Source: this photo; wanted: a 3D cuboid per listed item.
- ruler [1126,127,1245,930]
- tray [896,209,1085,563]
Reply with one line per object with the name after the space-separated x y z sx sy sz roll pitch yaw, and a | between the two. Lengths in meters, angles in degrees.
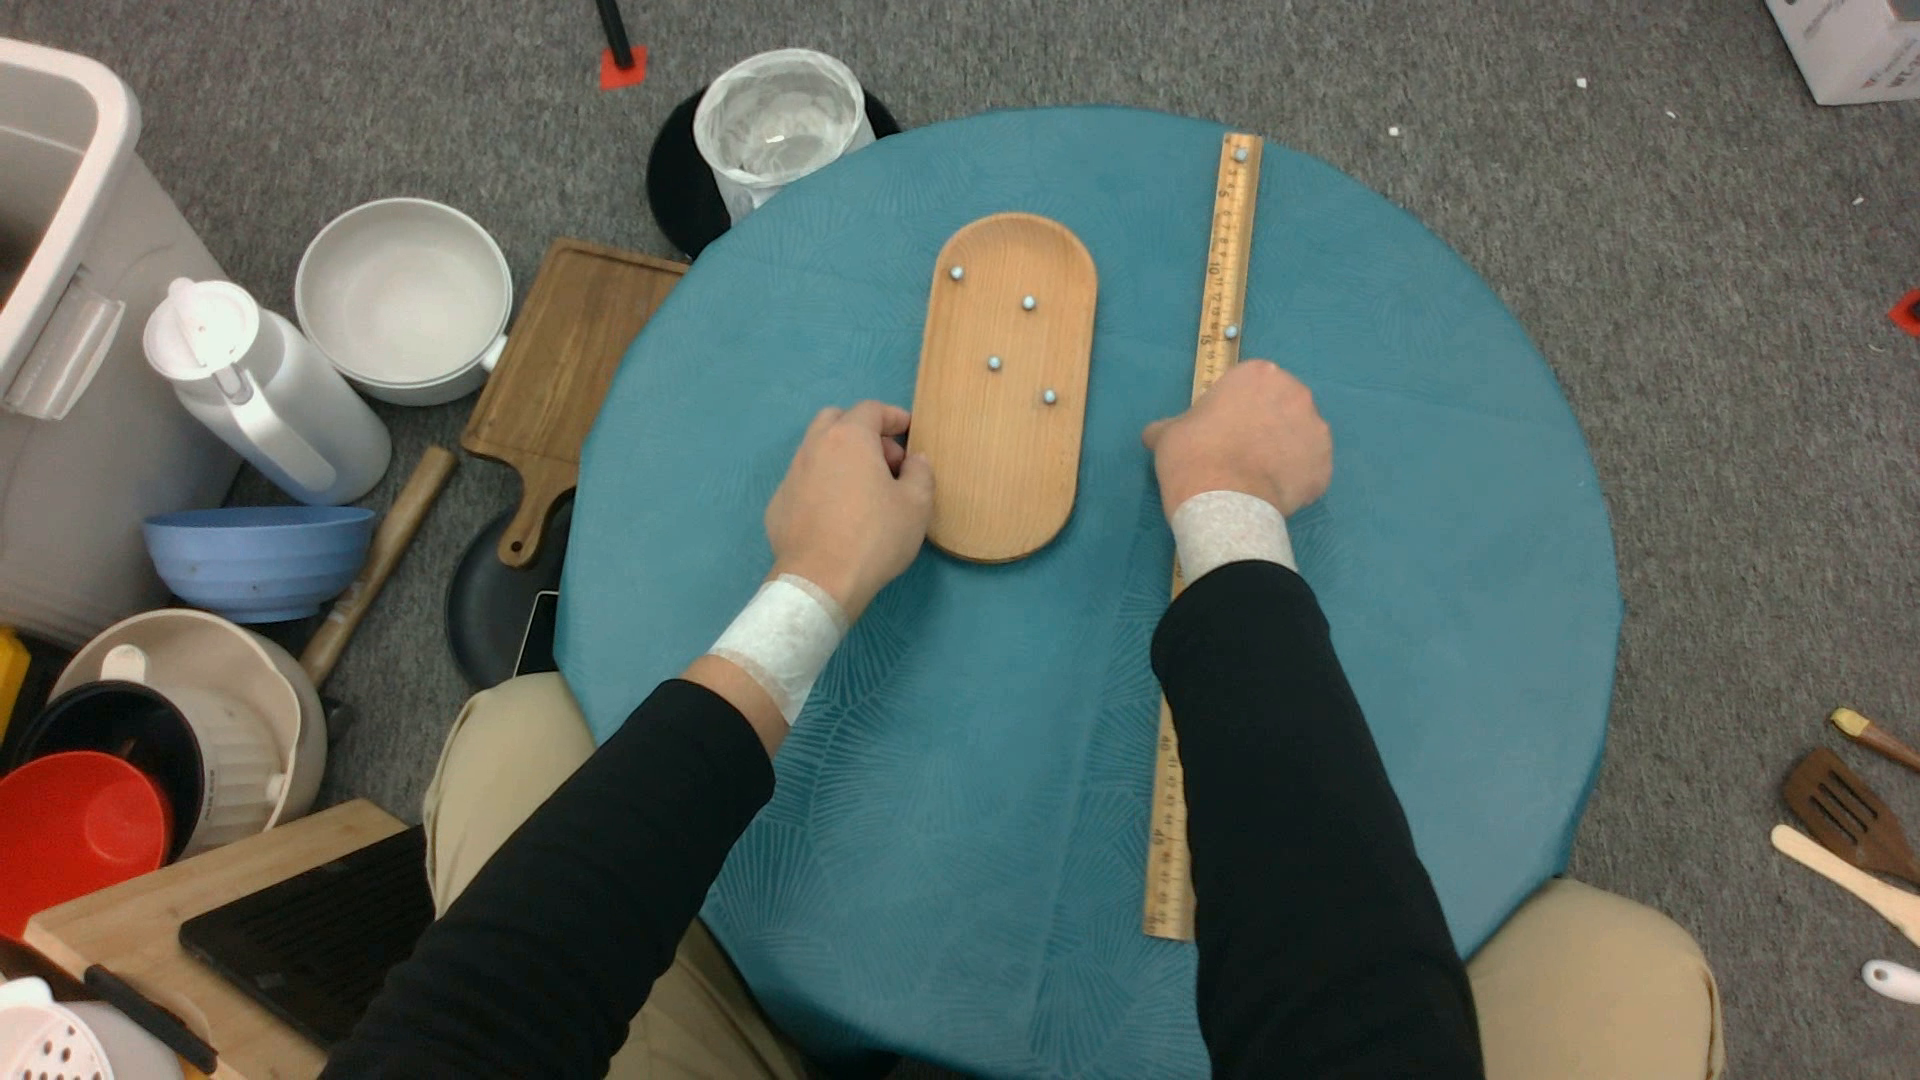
0.134 -0.033 0.796 0.027 0.006 0.502 7 69 6 | ruler
0.020 -0.095 0.815 0.101 0.020 0.232 5 70 2 | tray
